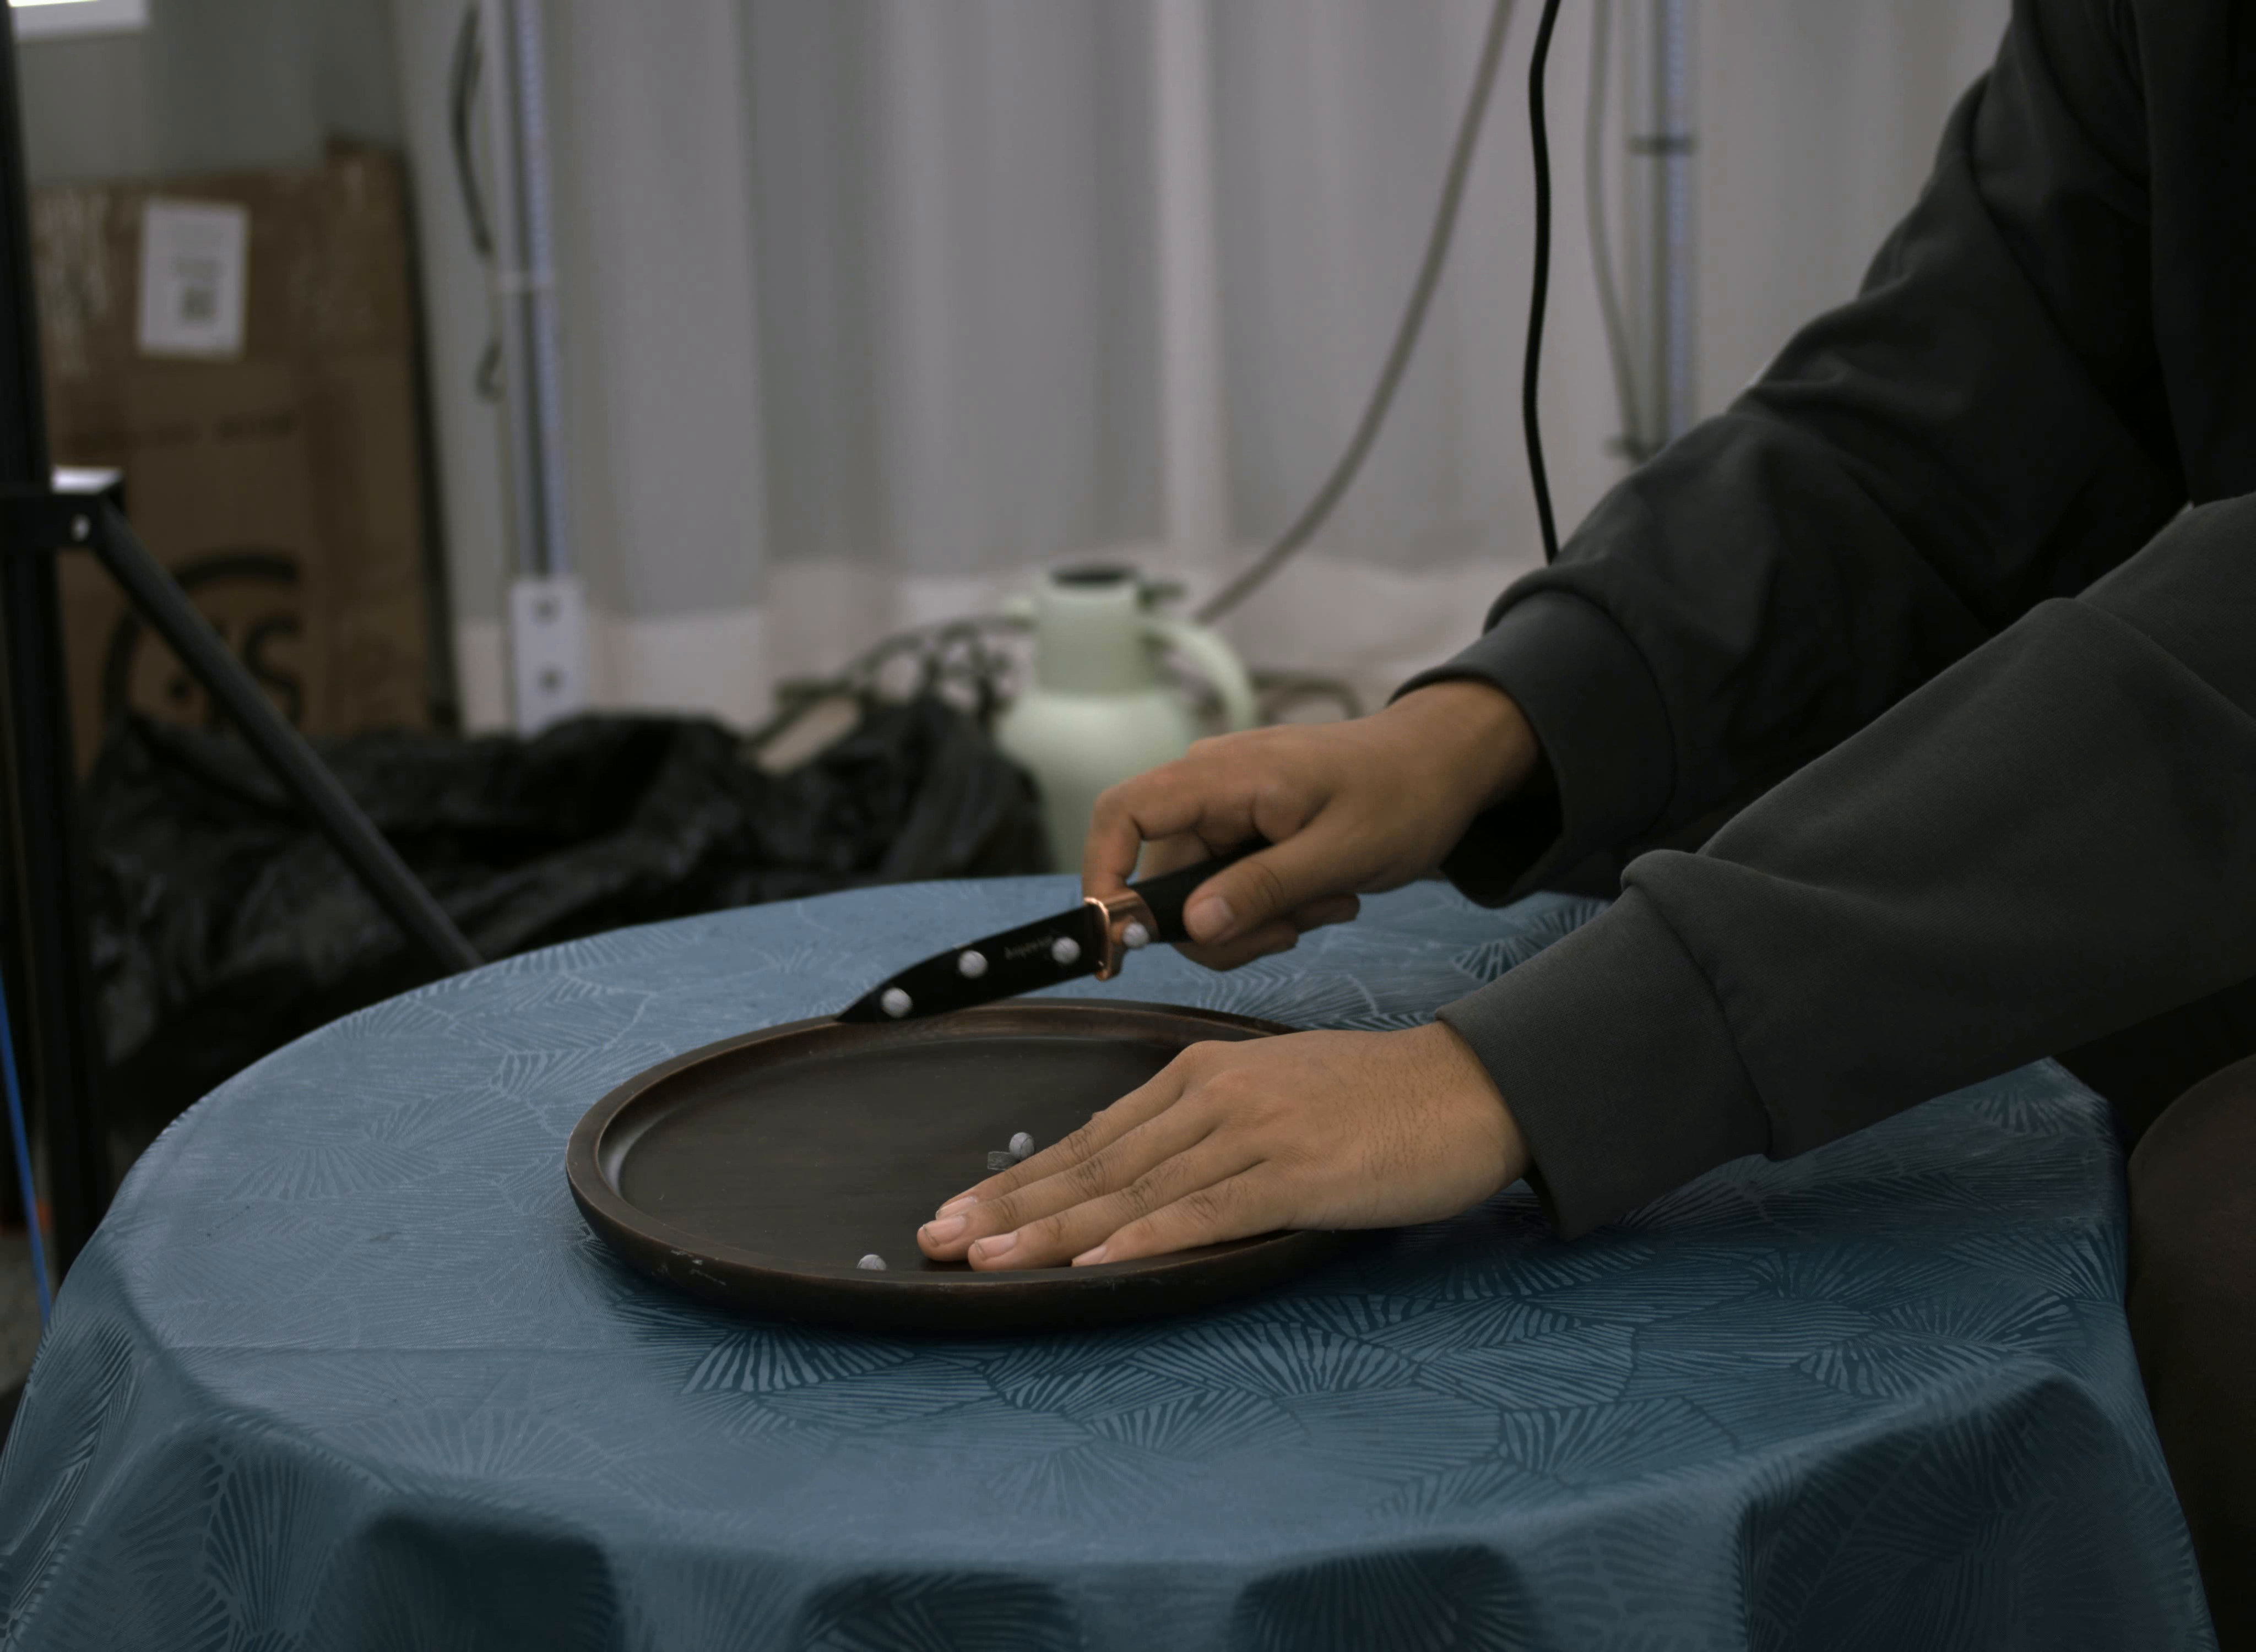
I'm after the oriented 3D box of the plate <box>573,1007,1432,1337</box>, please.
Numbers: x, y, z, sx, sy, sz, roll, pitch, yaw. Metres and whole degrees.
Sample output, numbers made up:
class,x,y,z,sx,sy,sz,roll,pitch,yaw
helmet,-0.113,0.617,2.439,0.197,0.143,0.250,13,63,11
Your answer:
class,x,y,z,sx,sy,sz,roll,pitch,yaw
plate,-0.036,0.098,1.555,0.253,0.029,0.256,-2,15,-1

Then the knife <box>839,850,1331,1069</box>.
class,x,y,z,sx,sy,sz,roll,pitch,yaw
knife,-0.010,0.039,1.636,0.017,0.026,0.220,5,16,43
